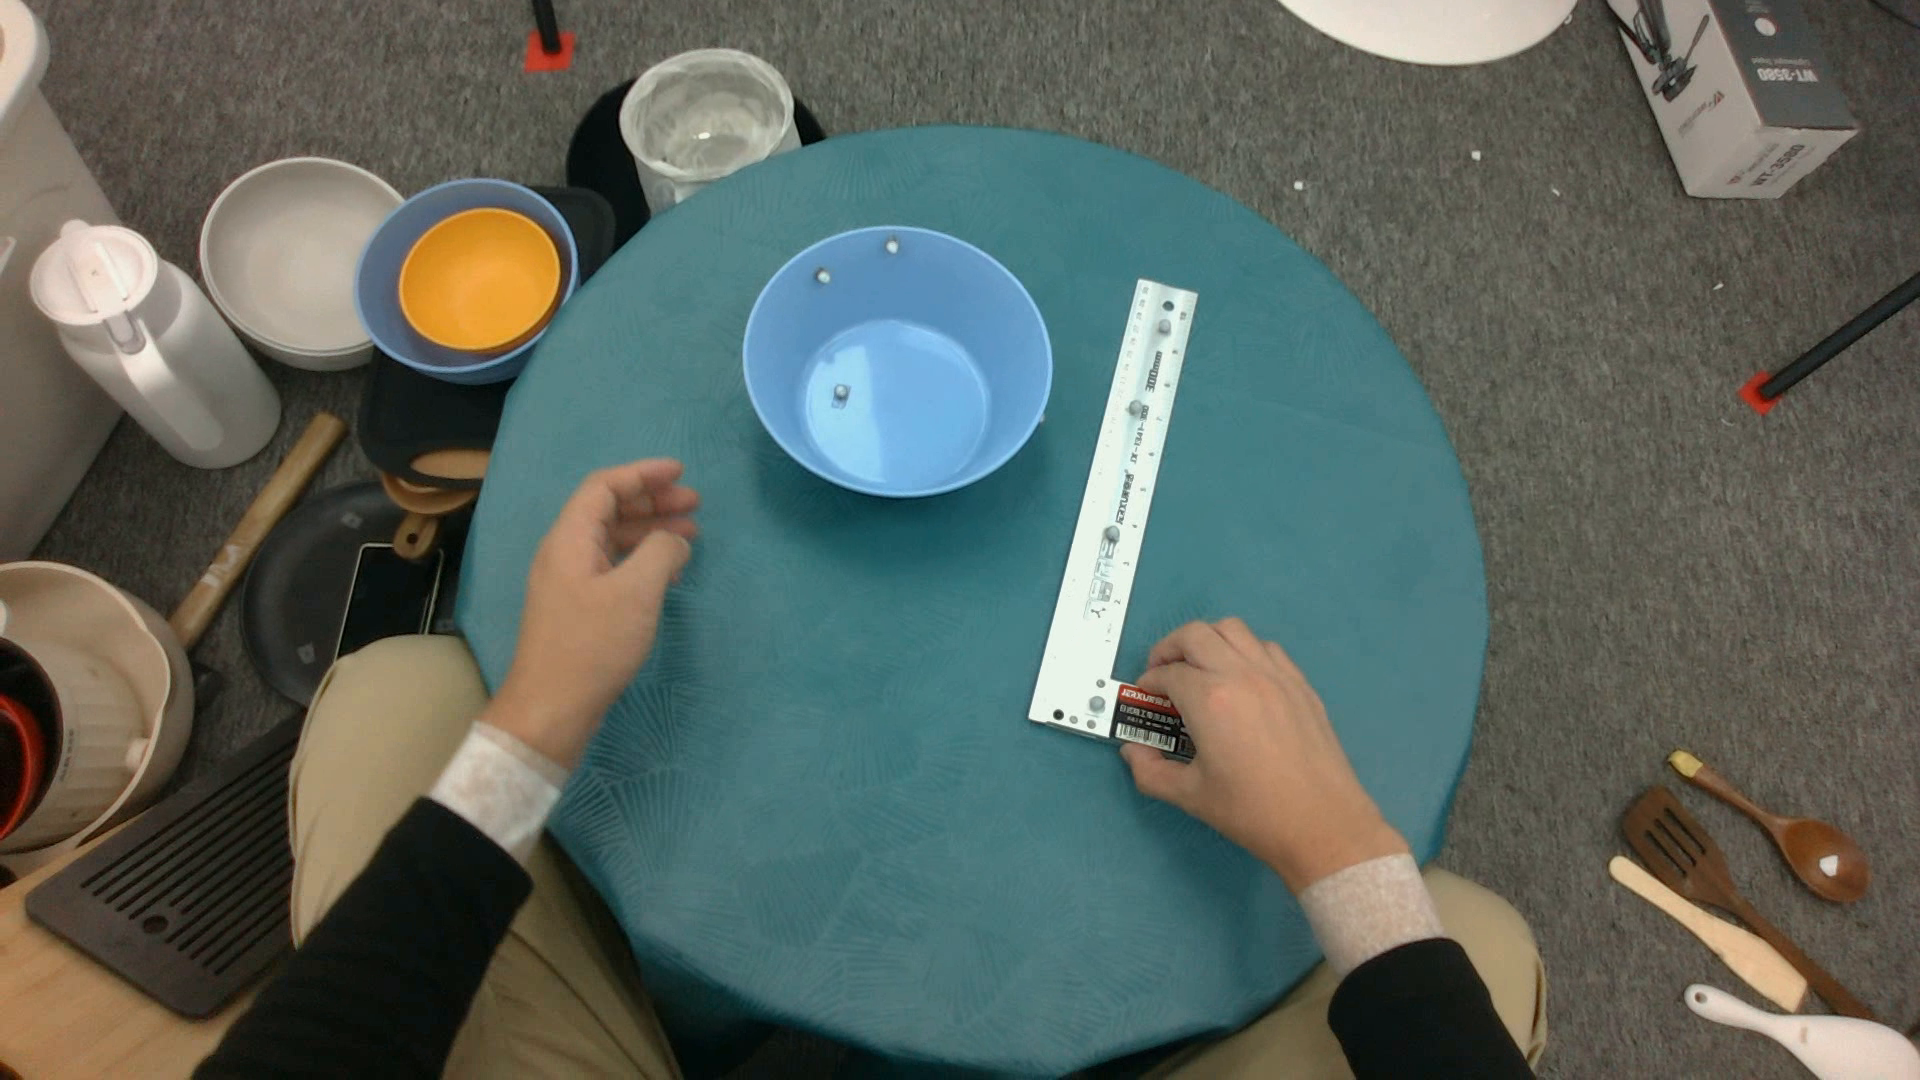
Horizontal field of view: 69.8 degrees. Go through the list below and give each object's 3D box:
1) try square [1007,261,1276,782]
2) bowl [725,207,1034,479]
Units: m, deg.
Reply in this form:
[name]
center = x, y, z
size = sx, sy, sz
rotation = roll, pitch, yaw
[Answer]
[try square]
center = 0.137, -0.022, 0.830
size = 0.152, 0.016, 0.314
rotation = 17, 66, -1
[bowl]
center = -0.048, -0.103, 0.806
size = 0.176, 0.070, 0.176
rotation = 3, 68, -7
